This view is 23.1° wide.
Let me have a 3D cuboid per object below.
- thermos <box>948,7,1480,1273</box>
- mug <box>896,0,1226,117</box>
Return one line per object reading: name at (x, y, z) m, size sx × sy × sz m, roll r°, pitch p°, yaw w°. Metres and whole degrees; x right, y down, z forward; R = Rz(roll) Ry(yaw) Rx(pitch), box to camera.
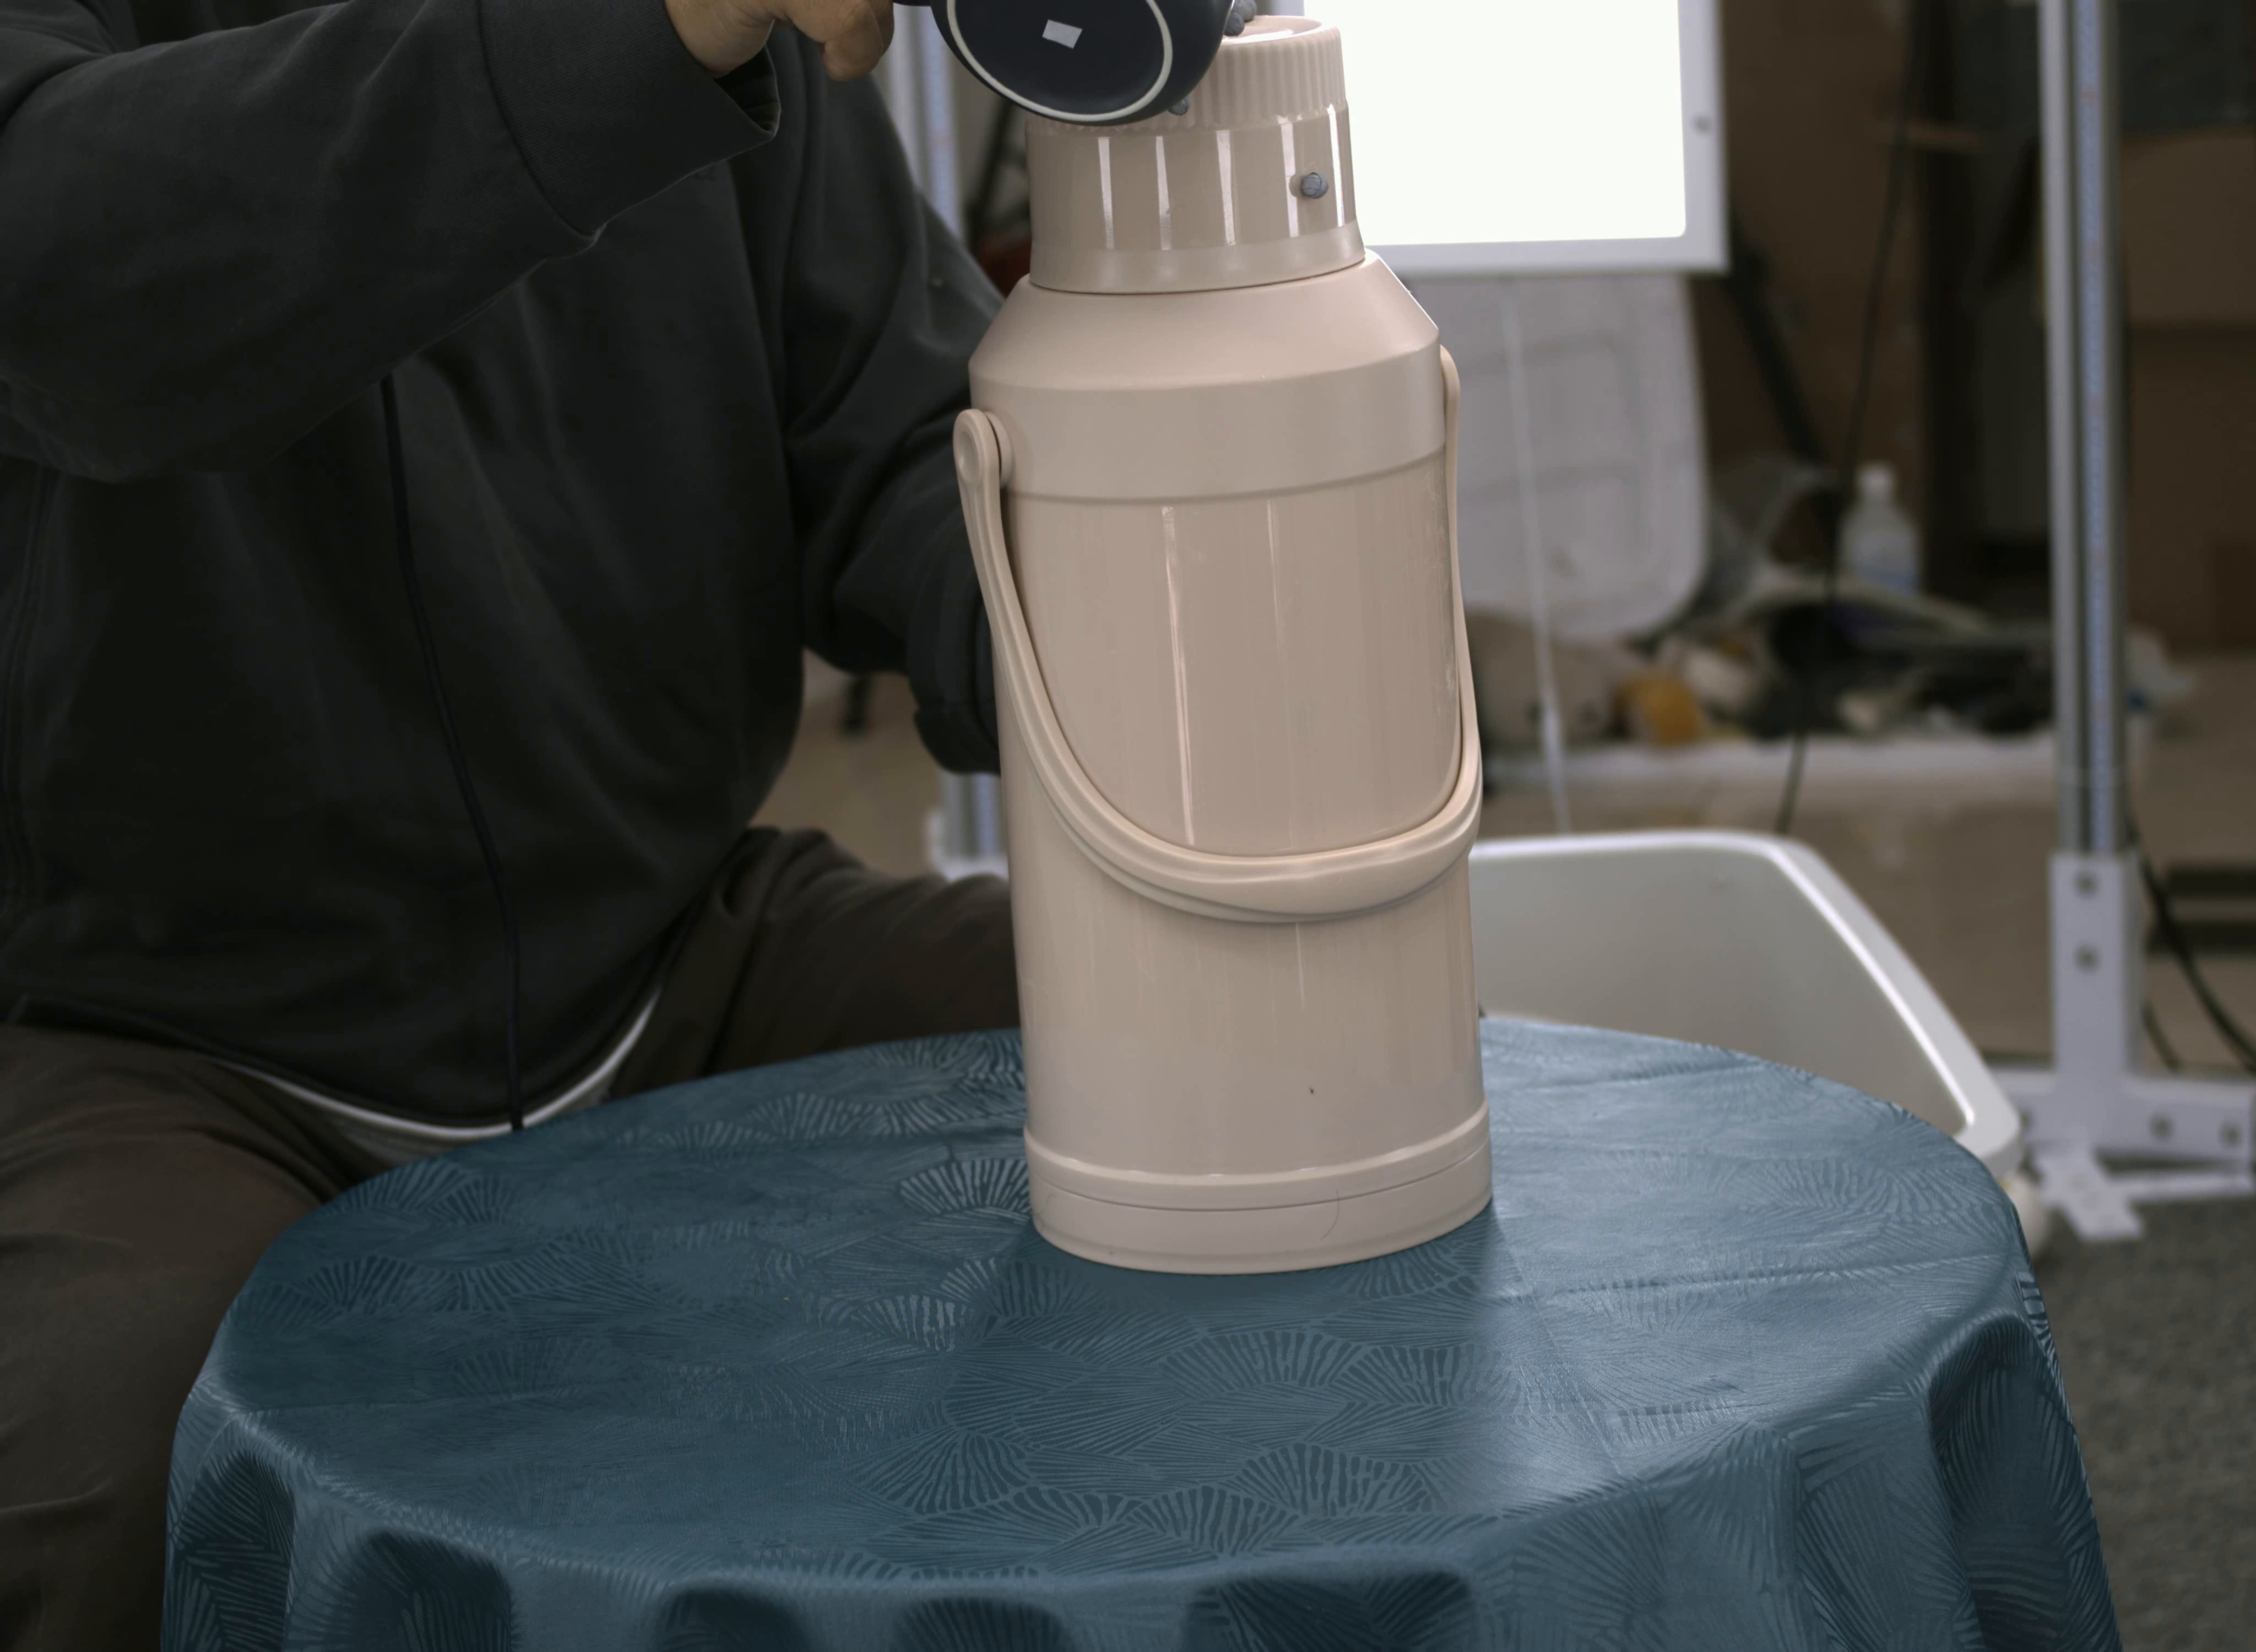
thermos at (0.025, -0.067, 1.842) m, size 0.172 × 0.408 × 0.210 m, roll -10°, pitch 15°, yaw -23°
mug at (-0.023, -0.277, 1.696) m, size 0.125 × 0.093 × 0.089 m, roll 2°, pitch 48°, yaw 24°
